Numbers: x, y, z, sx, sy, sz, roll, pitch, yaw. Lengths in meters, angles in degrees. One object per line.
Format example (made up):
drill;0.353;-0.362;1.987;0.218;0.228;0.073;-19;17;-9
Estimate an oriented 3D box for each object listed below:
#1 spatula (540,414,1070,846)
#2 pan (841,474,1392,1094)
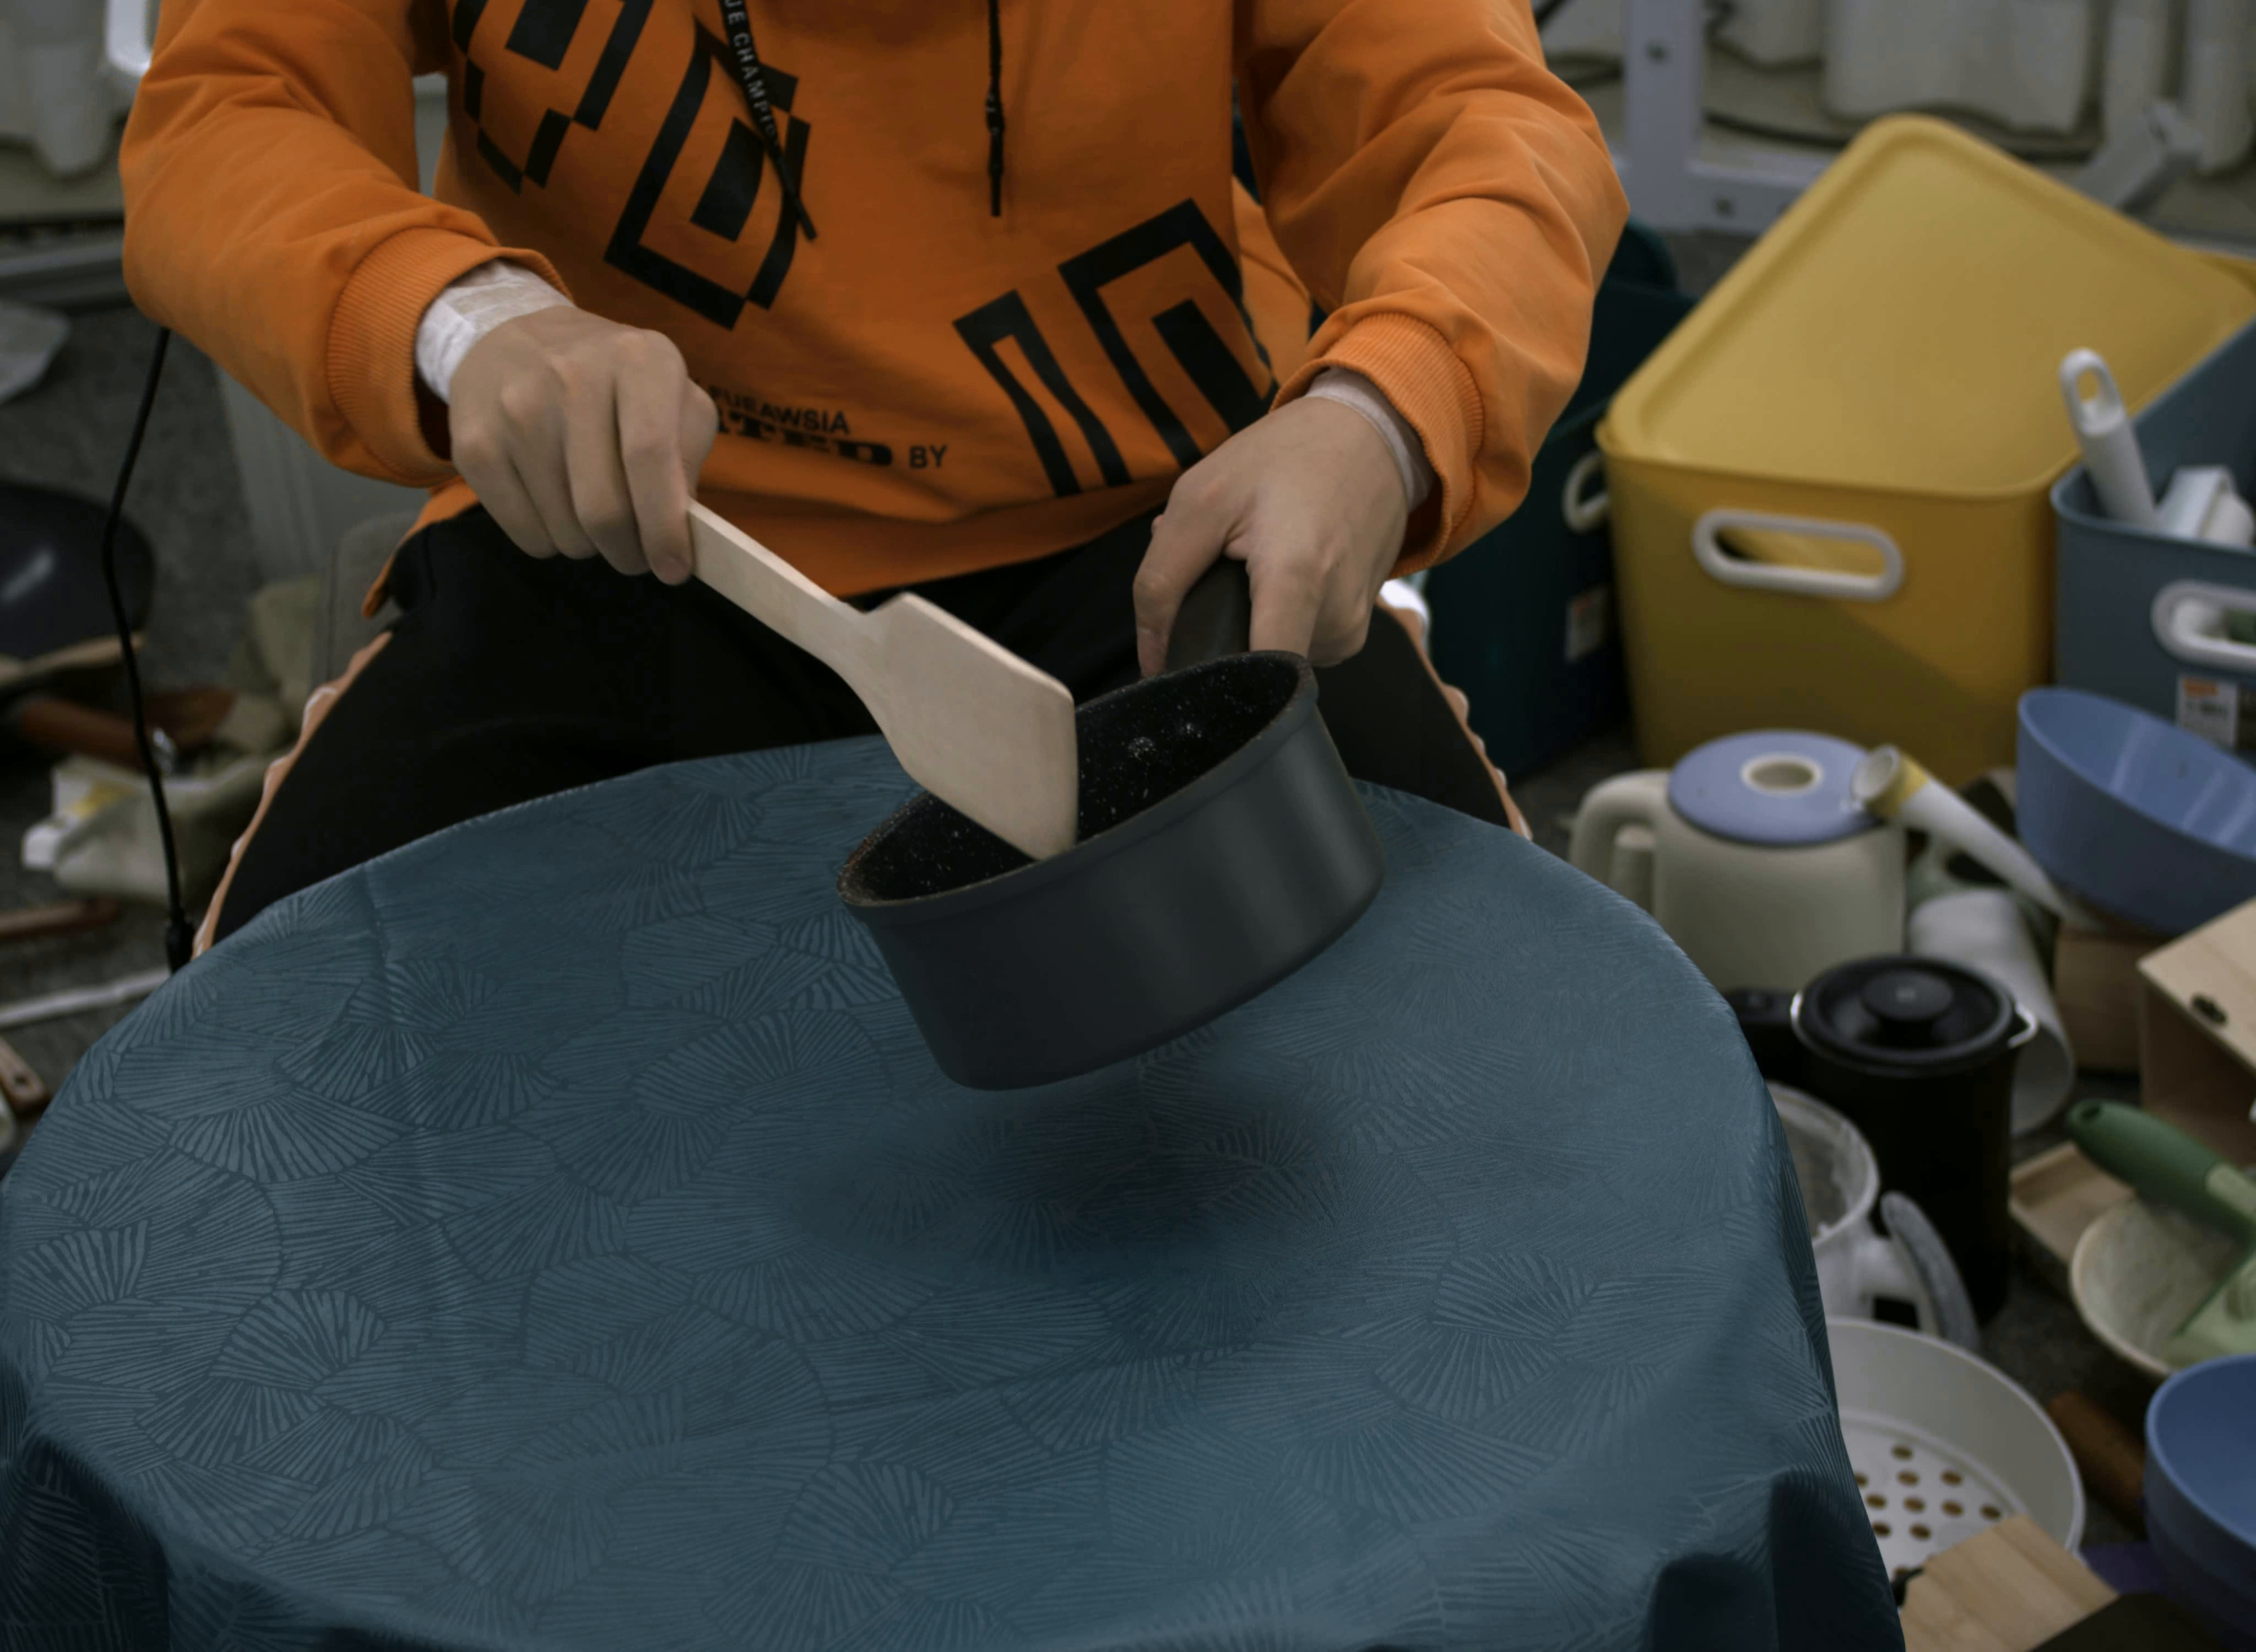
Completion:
spatula;-0.114;-0.078;1.888;0.011;0.071;0.293;-26;39;-30
pan;0.021;-0.019;1.905;0.170;0.086;0.334;-17;18;26
